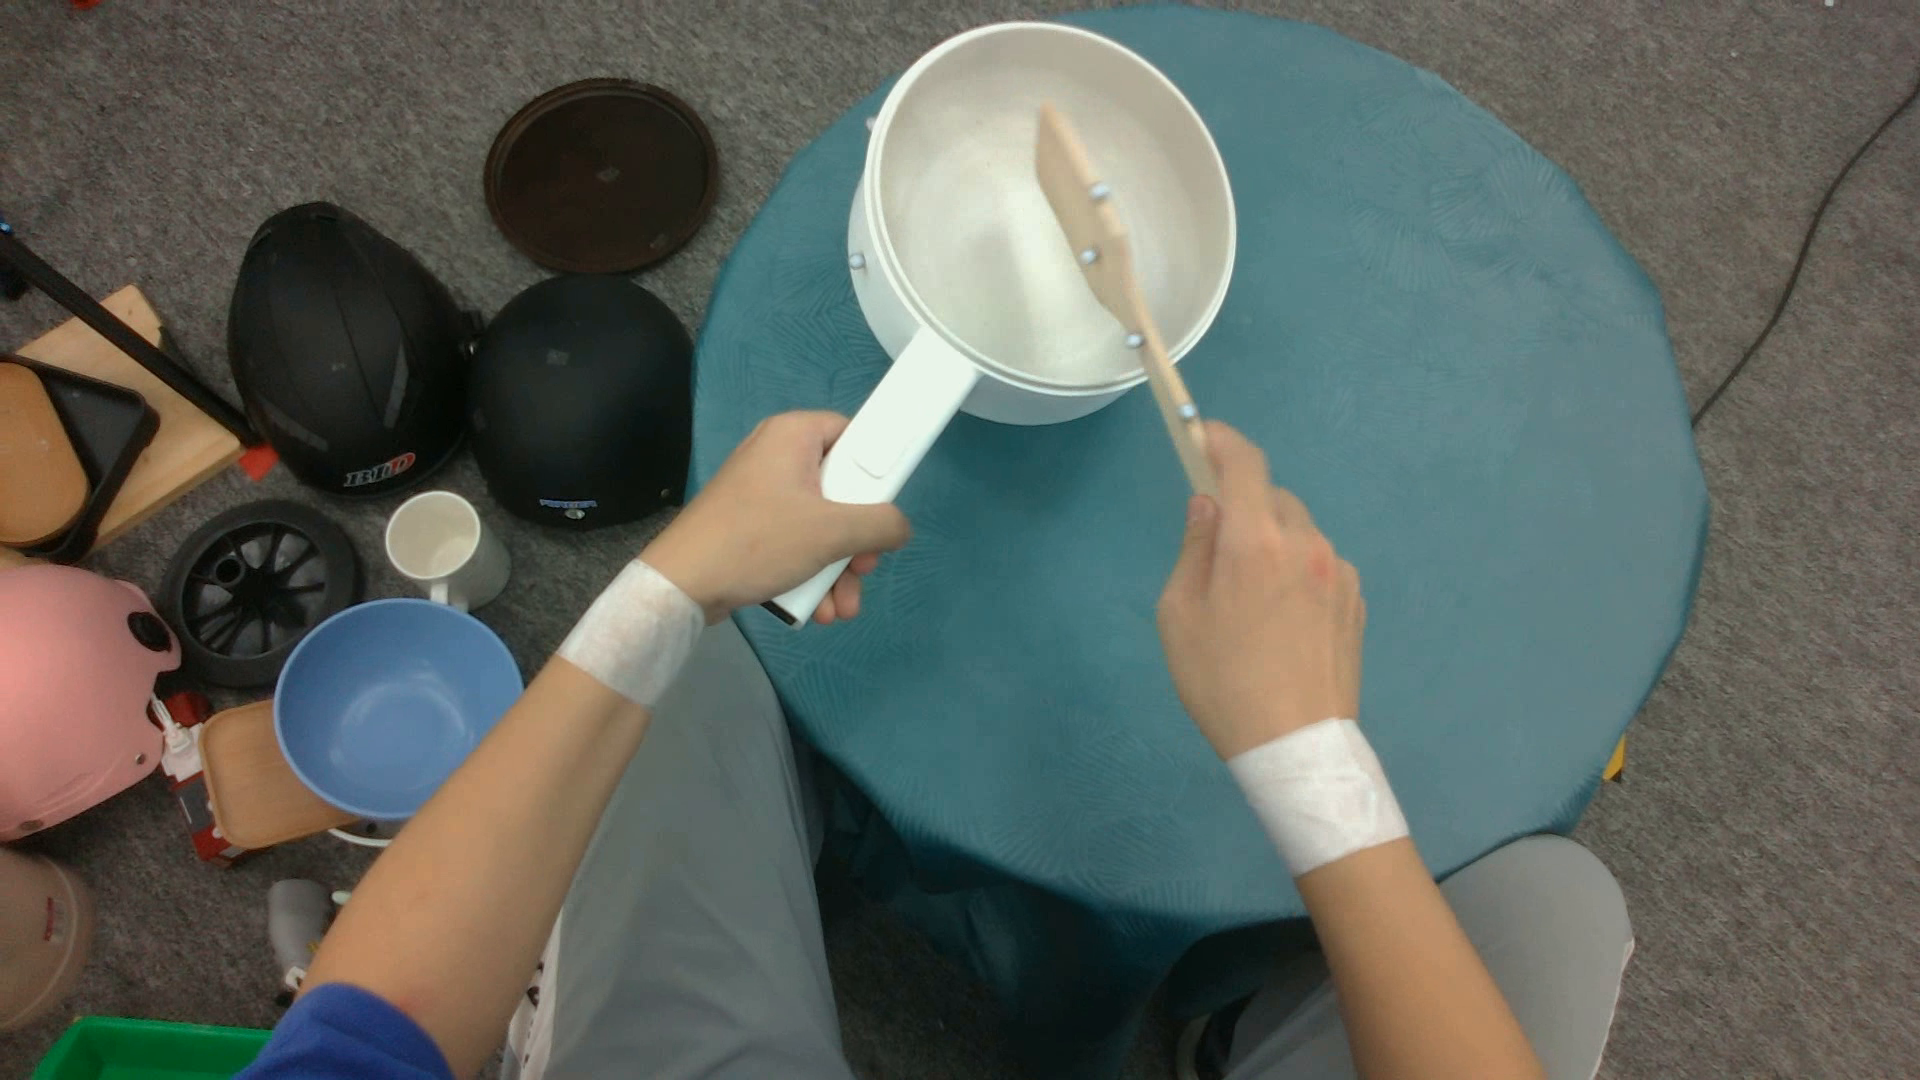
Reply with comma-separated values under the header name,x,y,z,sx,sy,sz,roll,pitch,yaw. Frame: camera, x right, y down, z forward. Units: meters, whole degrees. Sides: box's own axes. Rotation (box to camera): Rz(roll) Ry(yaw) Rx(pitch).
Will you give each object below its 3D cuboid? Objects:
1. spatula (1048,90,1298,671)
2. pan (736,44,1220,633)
name,x,y,z,sx,sy,sz,roll,pitch,yaw
spatula,0.103,-0.077,0.660,0.011,0.072,0.293,-13,75,-21
pan,-0.006,-0.100,0.744,0.201,0.102,0.356,35,72,-7
